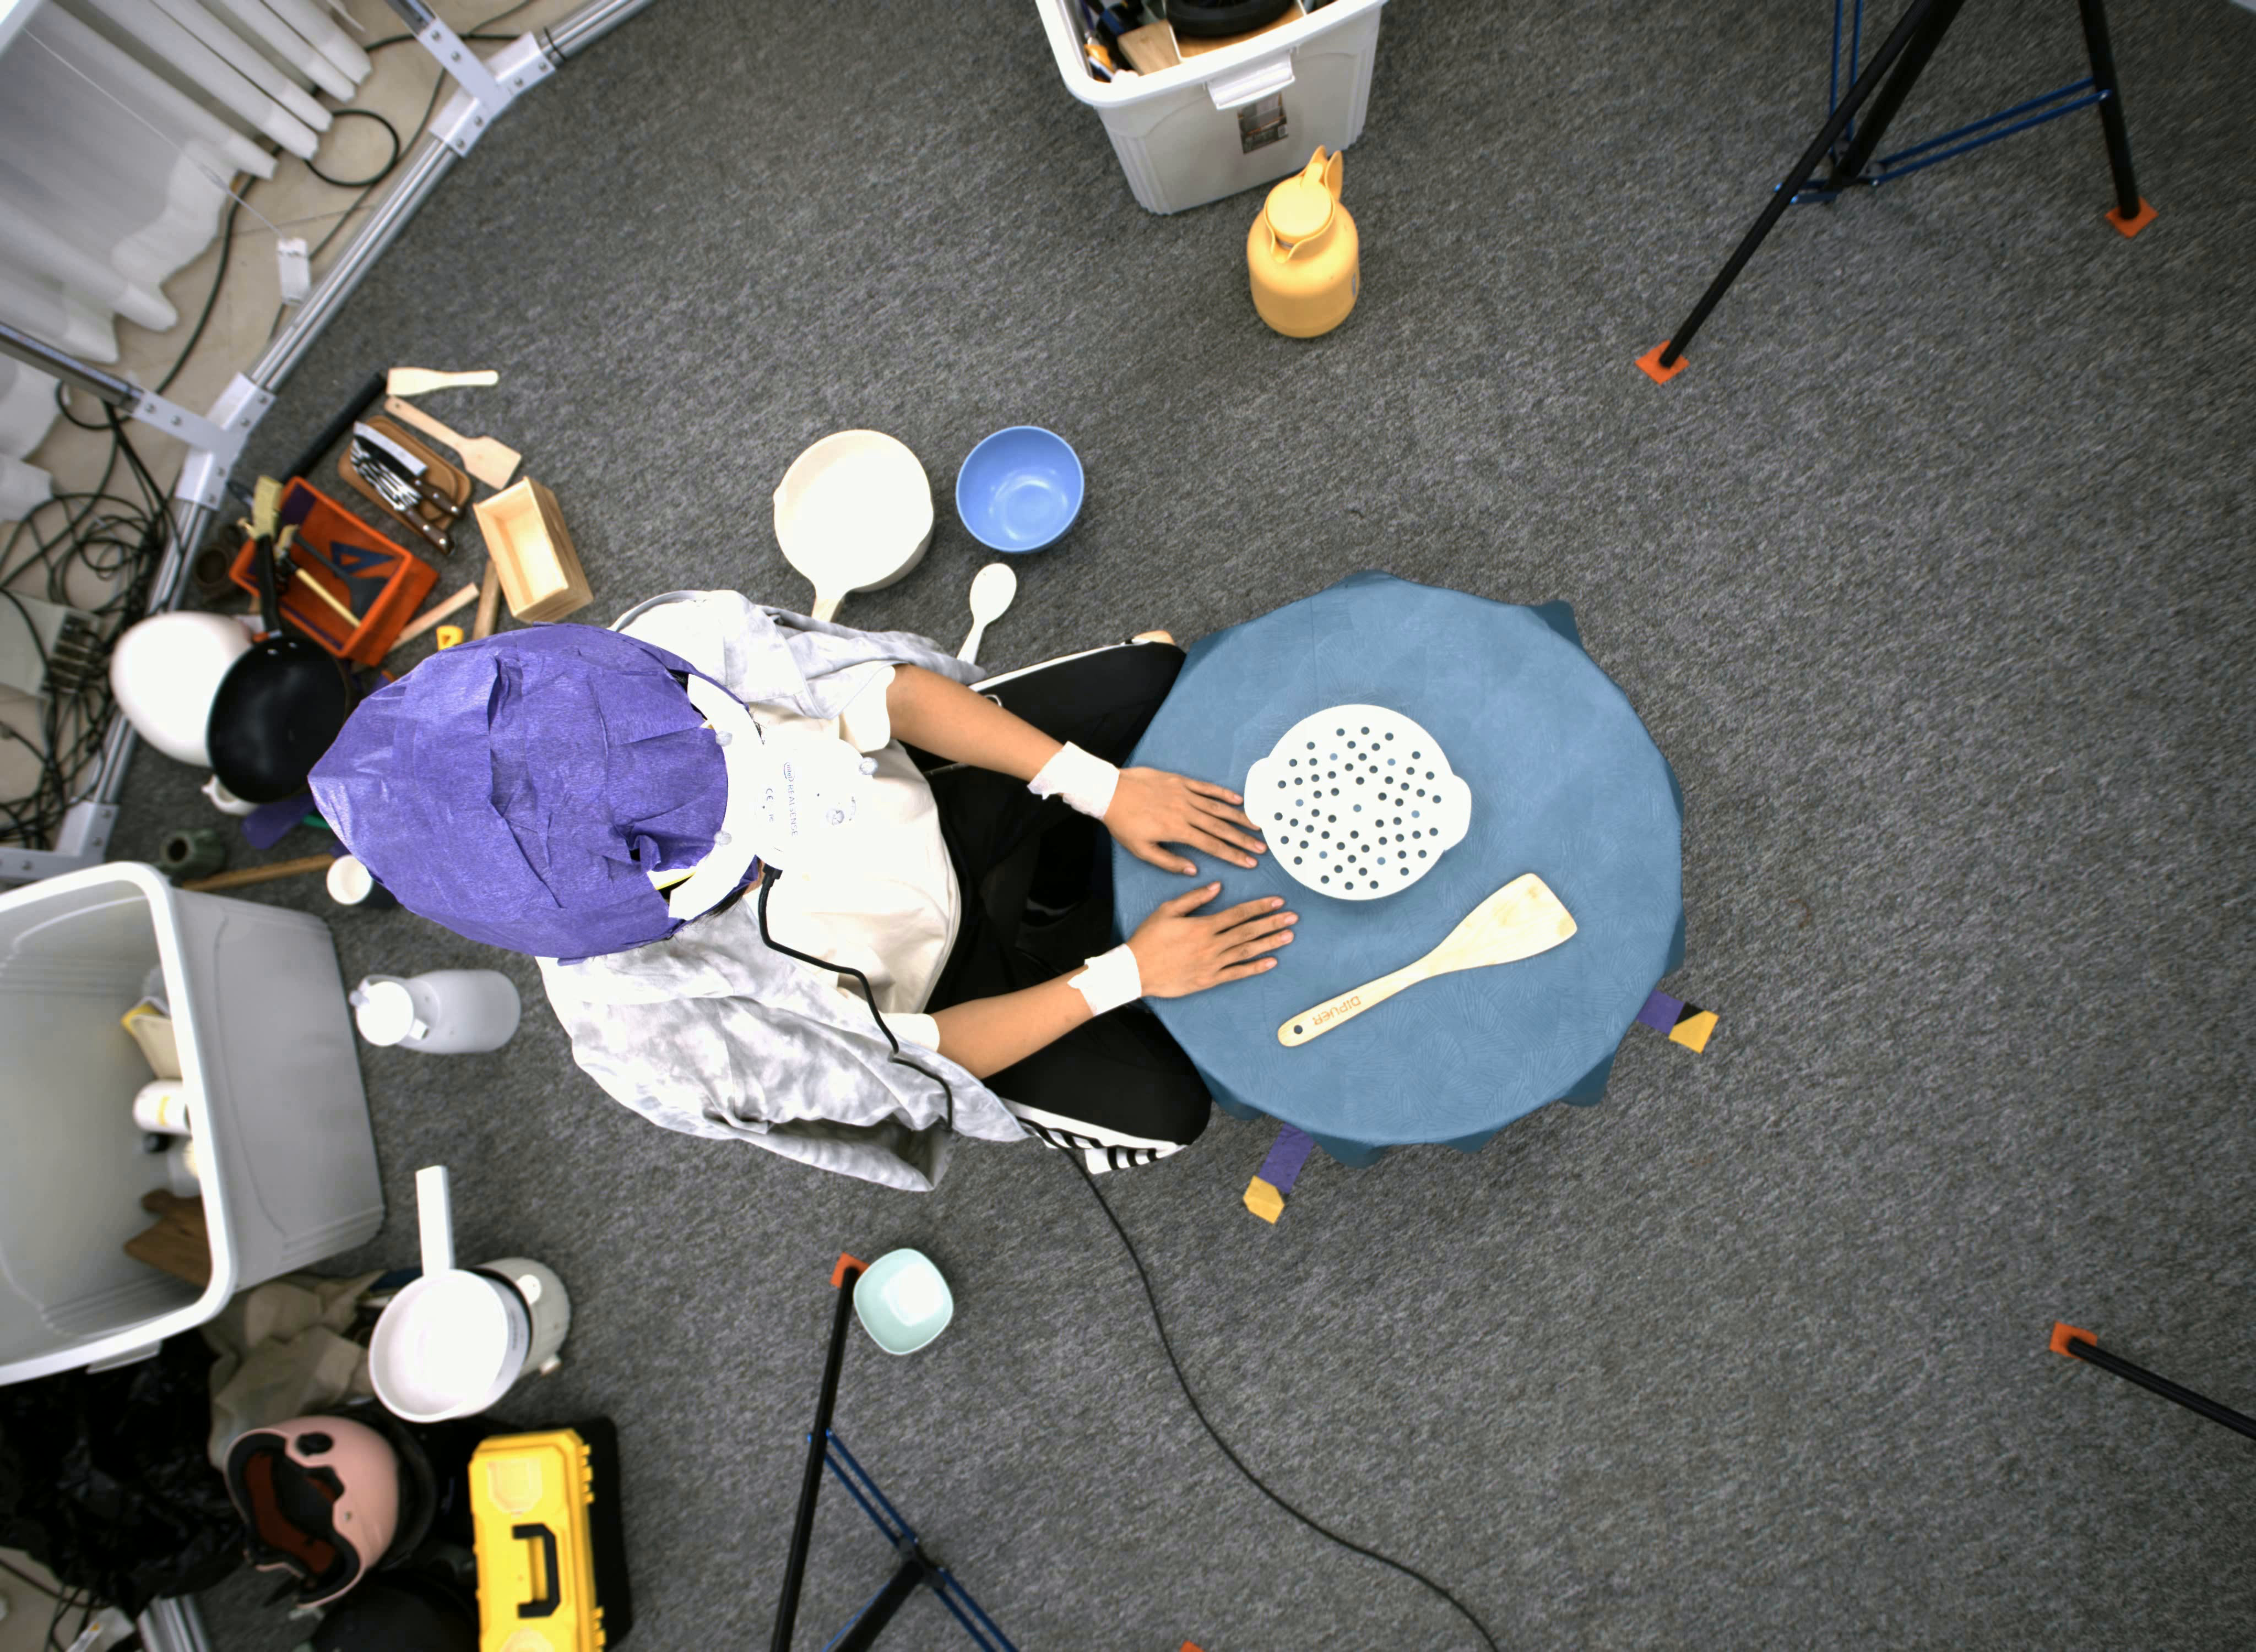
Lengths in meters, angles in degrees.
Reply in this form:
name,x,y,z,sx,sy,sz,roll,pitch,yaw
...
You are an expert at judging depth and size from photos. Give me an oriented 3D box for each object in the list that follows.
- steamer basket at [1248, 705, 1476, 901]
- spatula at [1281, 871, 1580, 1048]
name,x,y,z,sx,sy,sz,roll,pitch,yaw
steamer basket,0.242,-0.023,1.435,0.231,0.069,0.201,6,86,12
spatula,0.306,0.147,1.438,0.329,0.016,0.079,-28,81,8
